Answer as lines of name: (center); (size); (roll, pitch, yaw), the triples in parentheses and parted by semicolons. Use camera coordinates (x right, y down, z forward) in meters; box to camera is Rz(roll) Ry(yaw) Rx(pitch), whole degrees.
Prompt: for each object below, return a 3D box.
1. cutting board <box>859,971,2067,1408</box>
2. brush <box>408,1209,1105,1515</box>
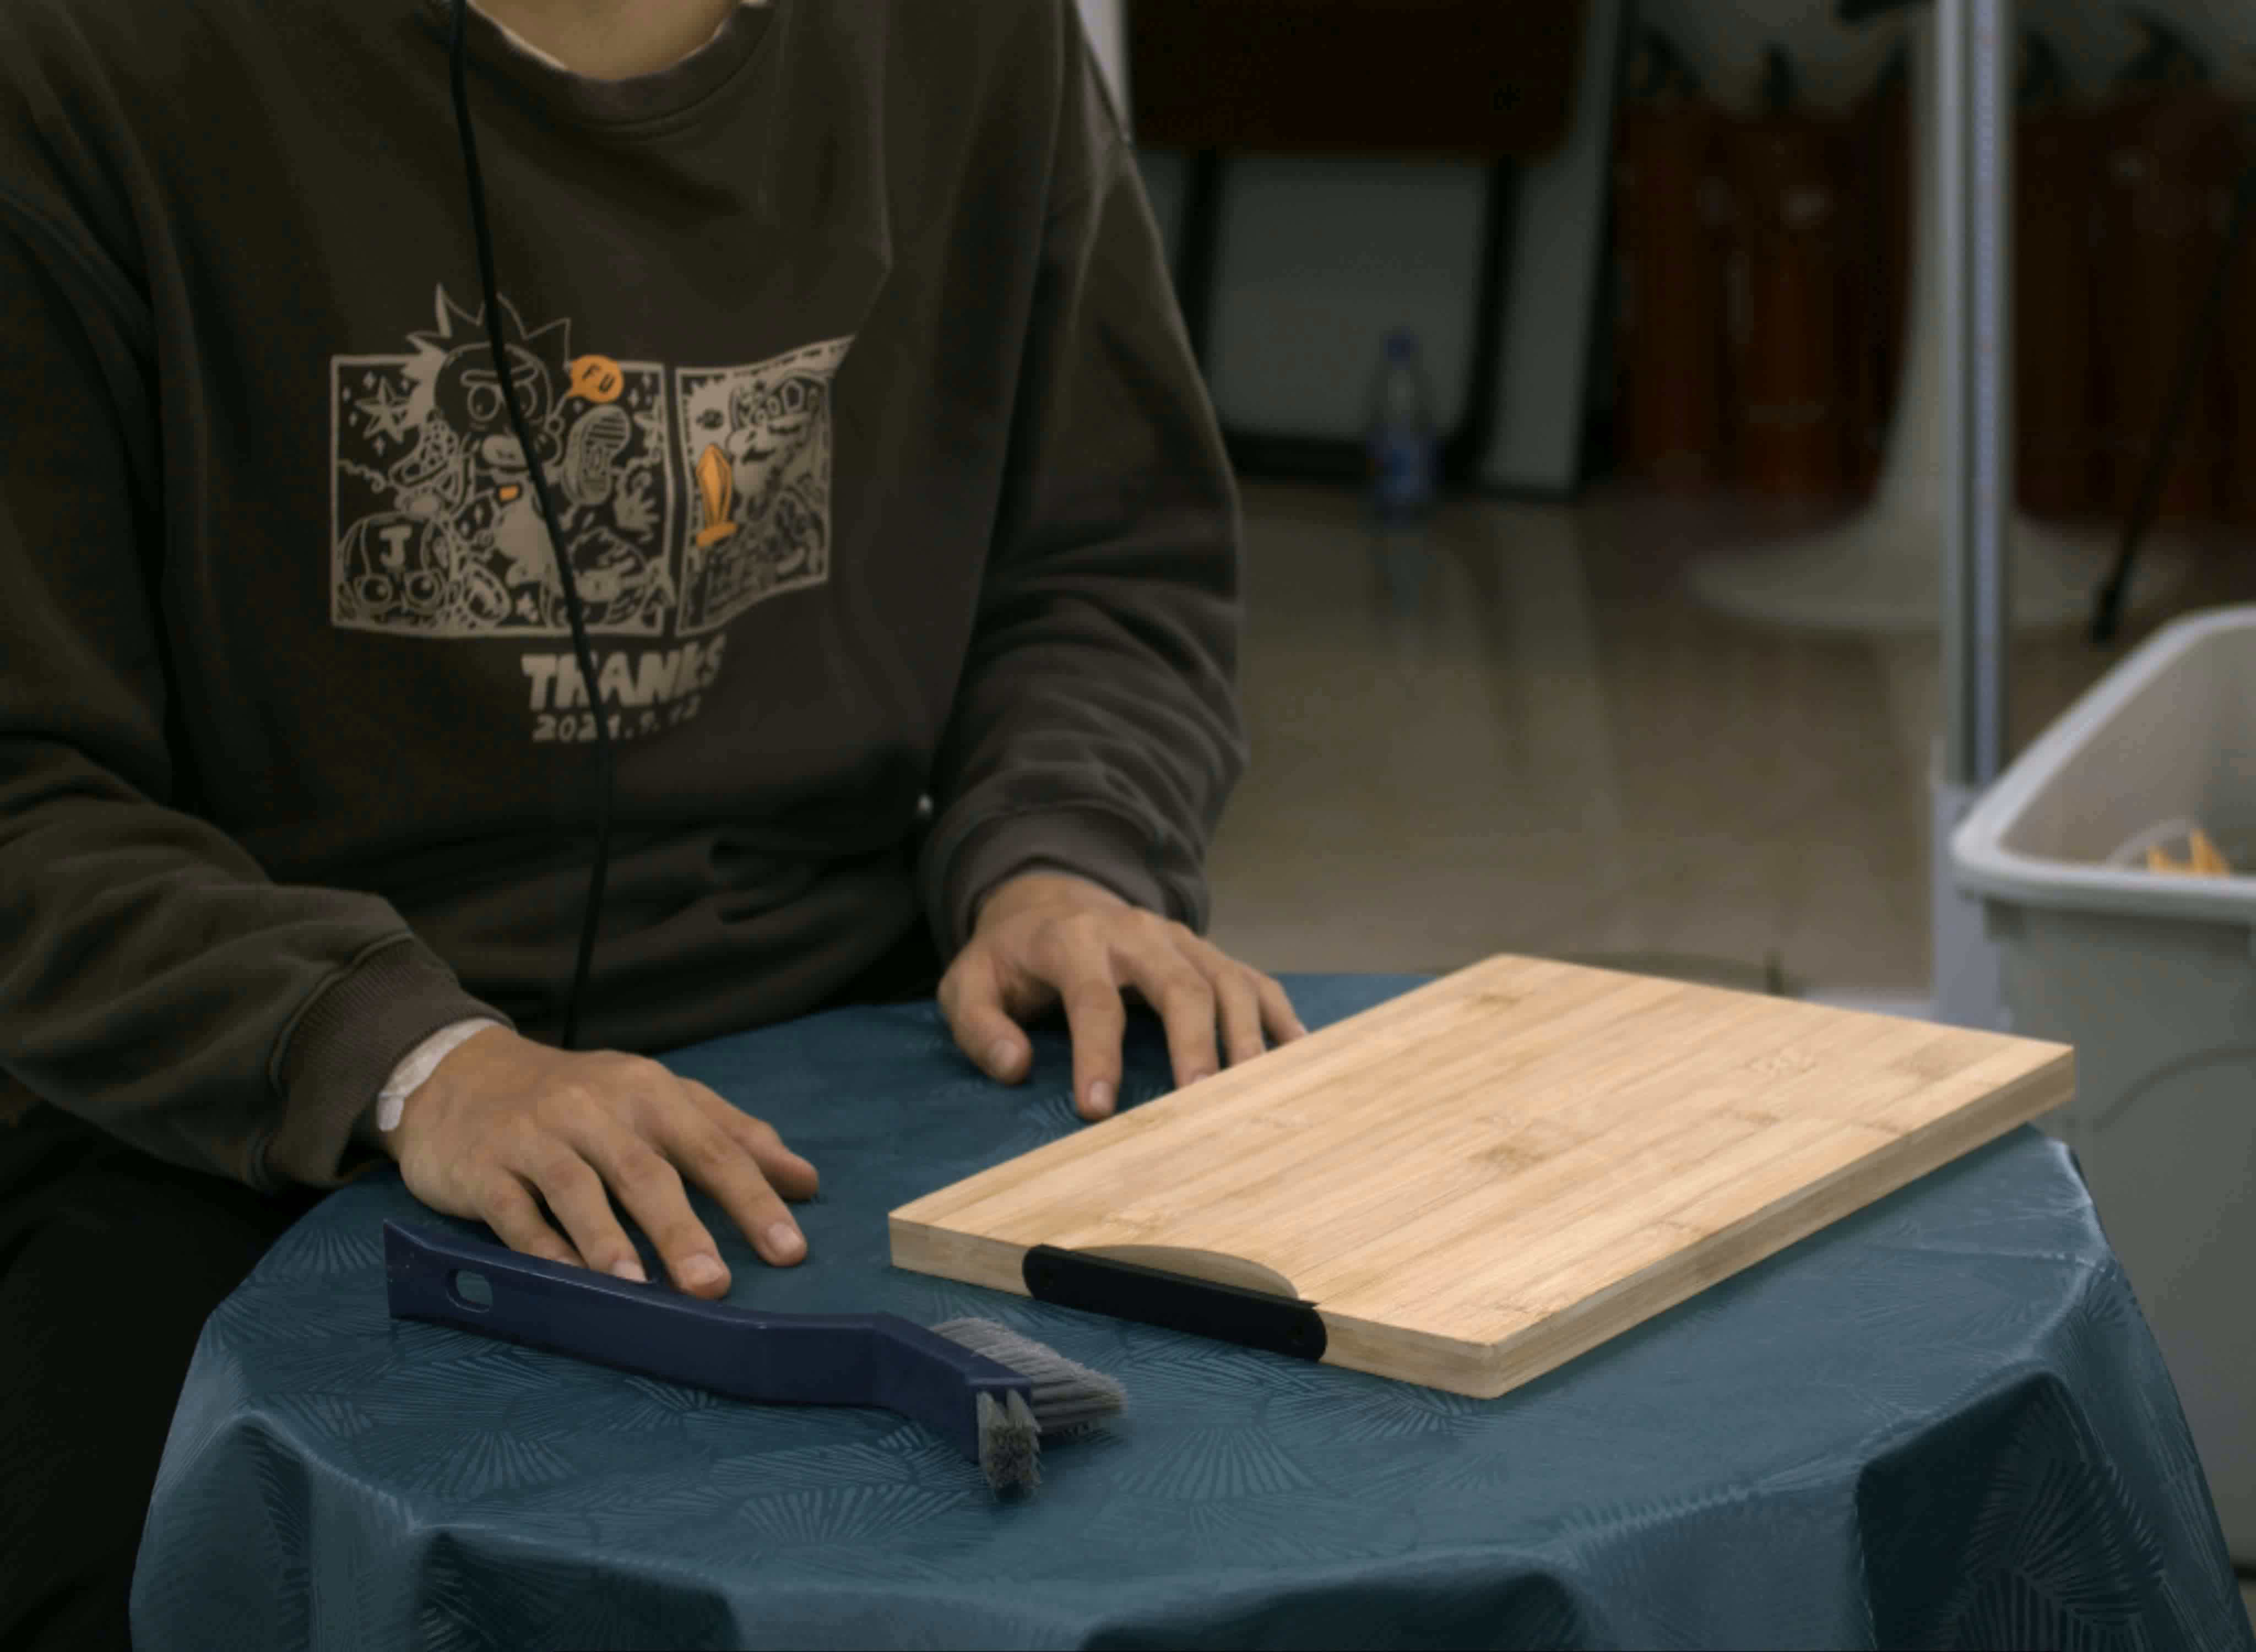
cutting board: (0.116, 0.112, 1.751); (0.252, 0.024, 0.342); (6, 17, 39)
brush: (-0.127, 0.156, 1.605); (0.274, 0.034, 0.094); (6, 17, 33)
